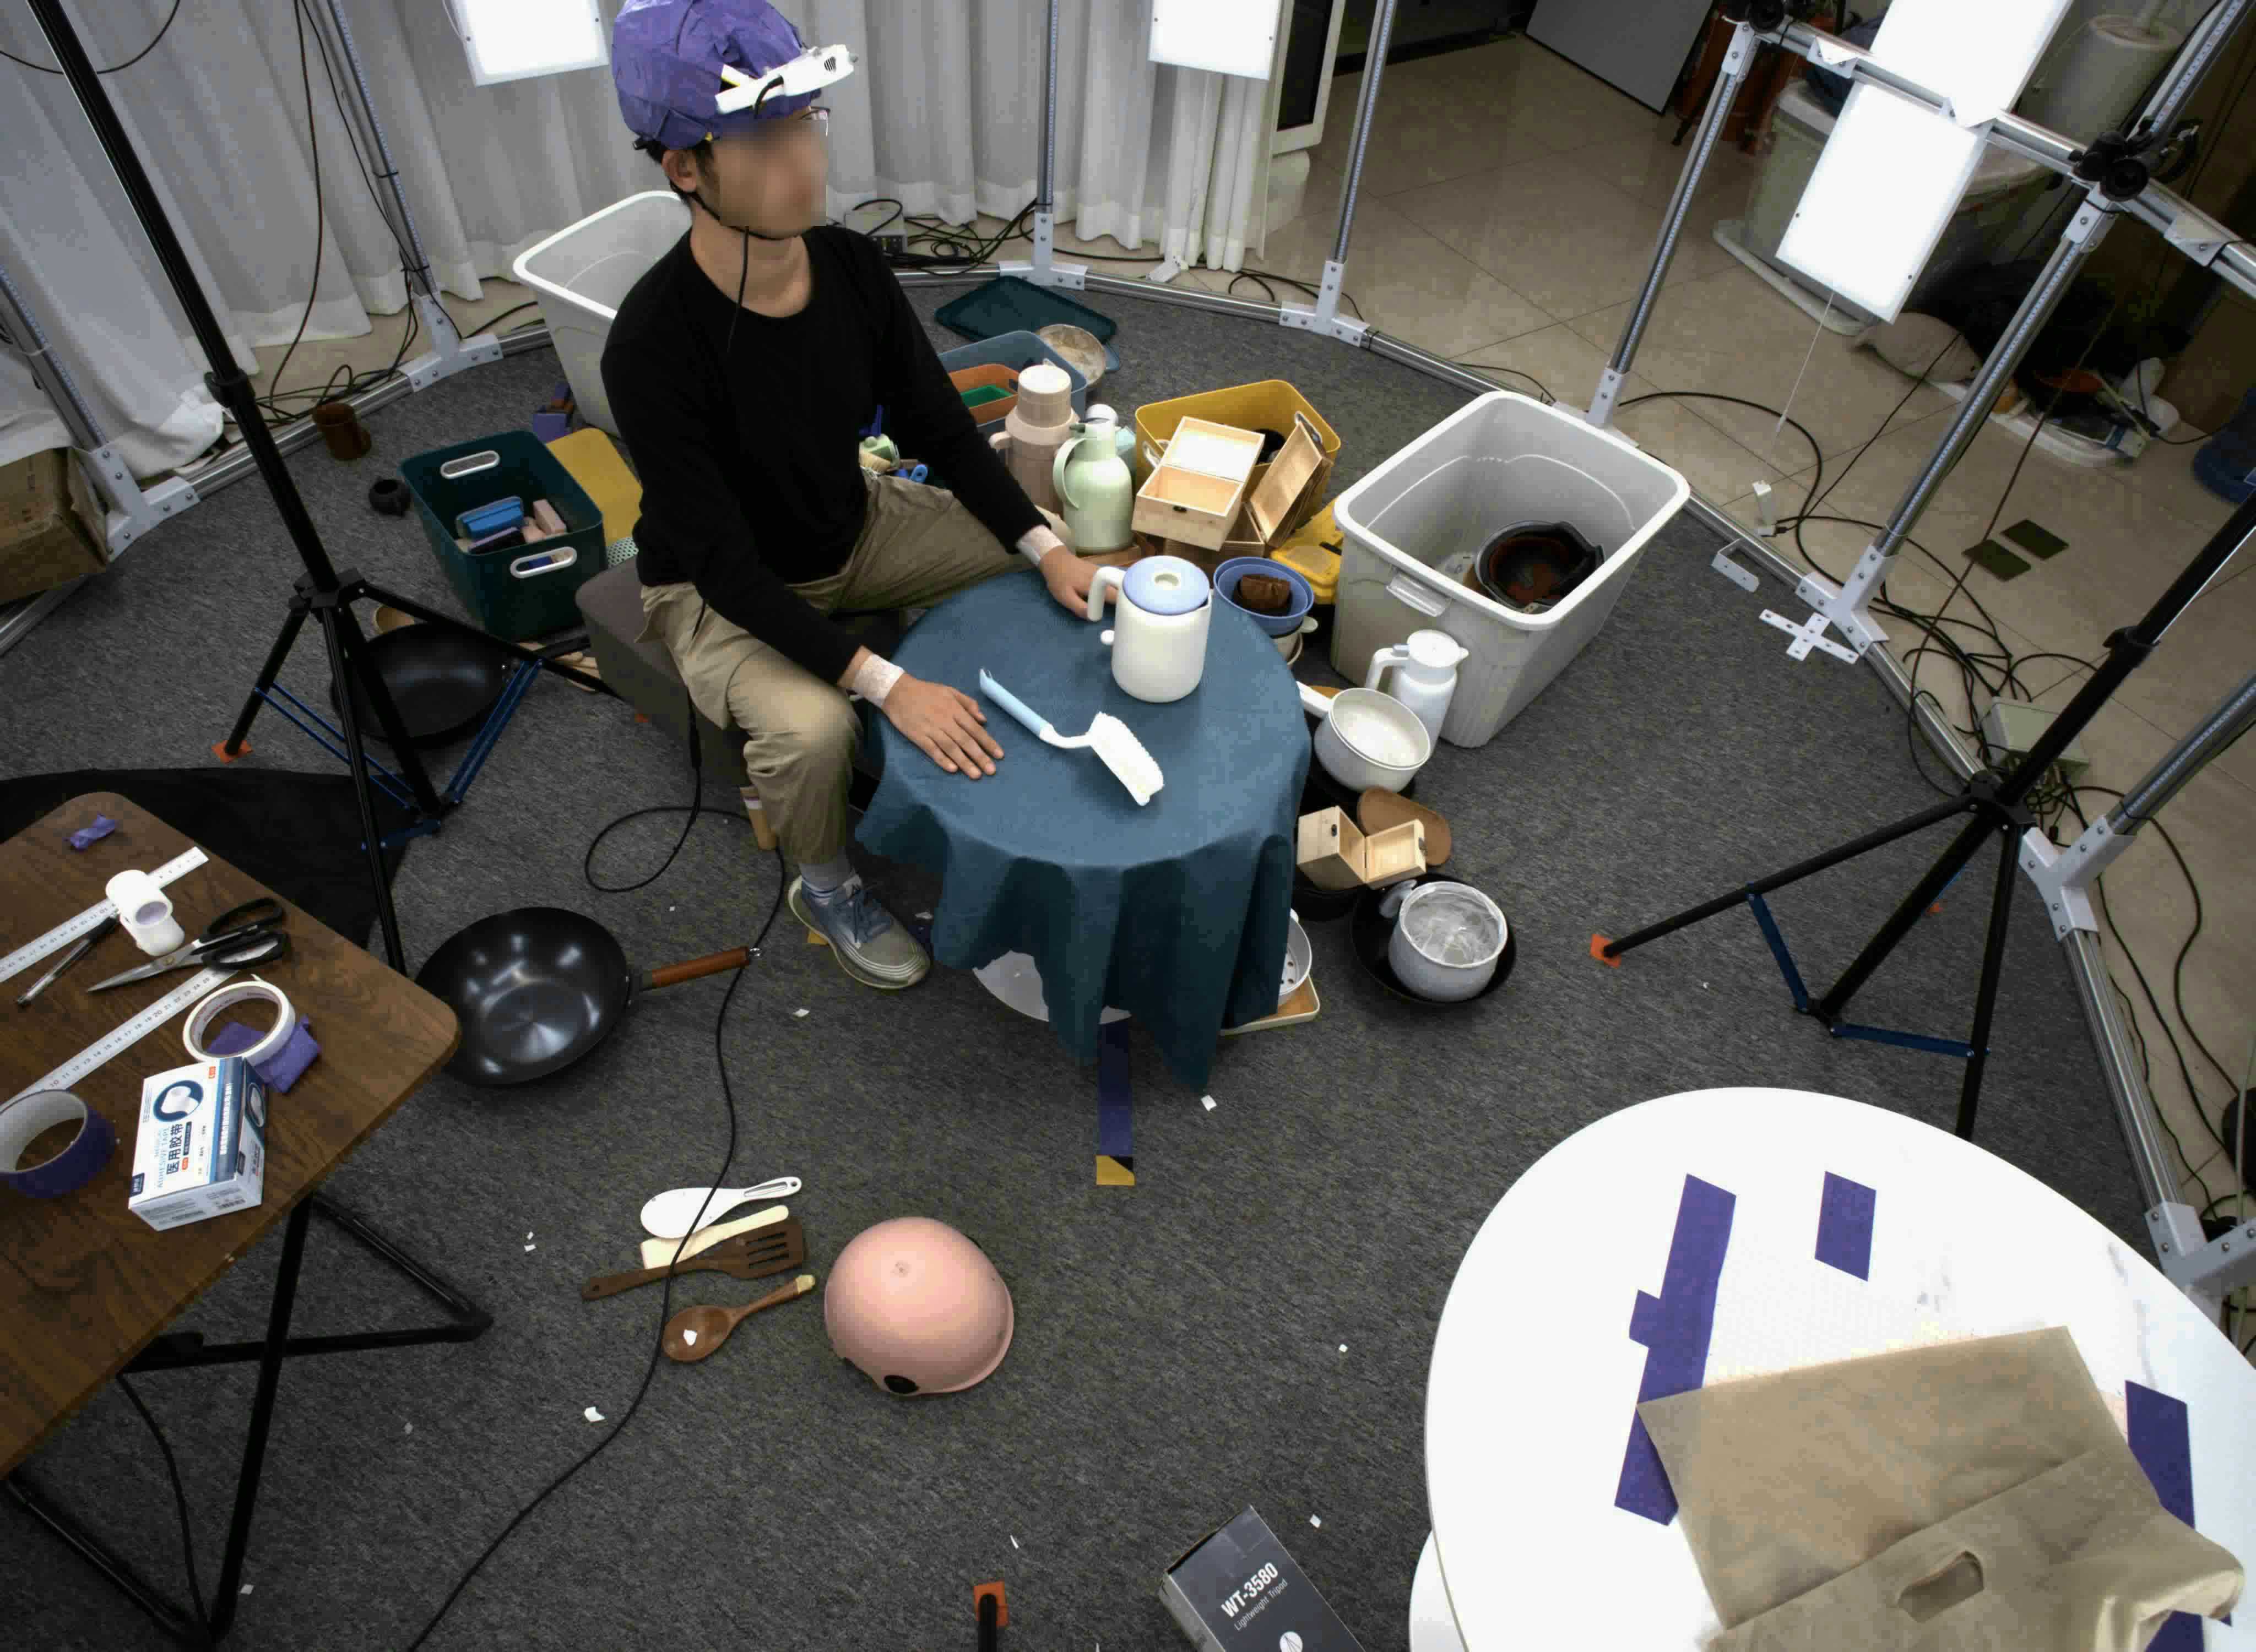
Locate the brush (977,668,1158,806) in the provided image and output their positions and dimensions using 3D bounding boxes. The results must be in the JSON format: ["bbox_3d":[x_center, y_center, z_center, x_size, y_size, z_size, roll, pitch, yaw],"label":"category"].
[{"bbox_3d":[-0.079,-0.149,1.742,0.085,0.081,0.330,-39,63,-23],"label":"brush"}]

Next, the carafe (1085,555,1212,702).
[{"bbox_3d":[0.025,-0.286,1.809,0.192,0.178,0.134,25,52,18],"label":"carafe"}]
